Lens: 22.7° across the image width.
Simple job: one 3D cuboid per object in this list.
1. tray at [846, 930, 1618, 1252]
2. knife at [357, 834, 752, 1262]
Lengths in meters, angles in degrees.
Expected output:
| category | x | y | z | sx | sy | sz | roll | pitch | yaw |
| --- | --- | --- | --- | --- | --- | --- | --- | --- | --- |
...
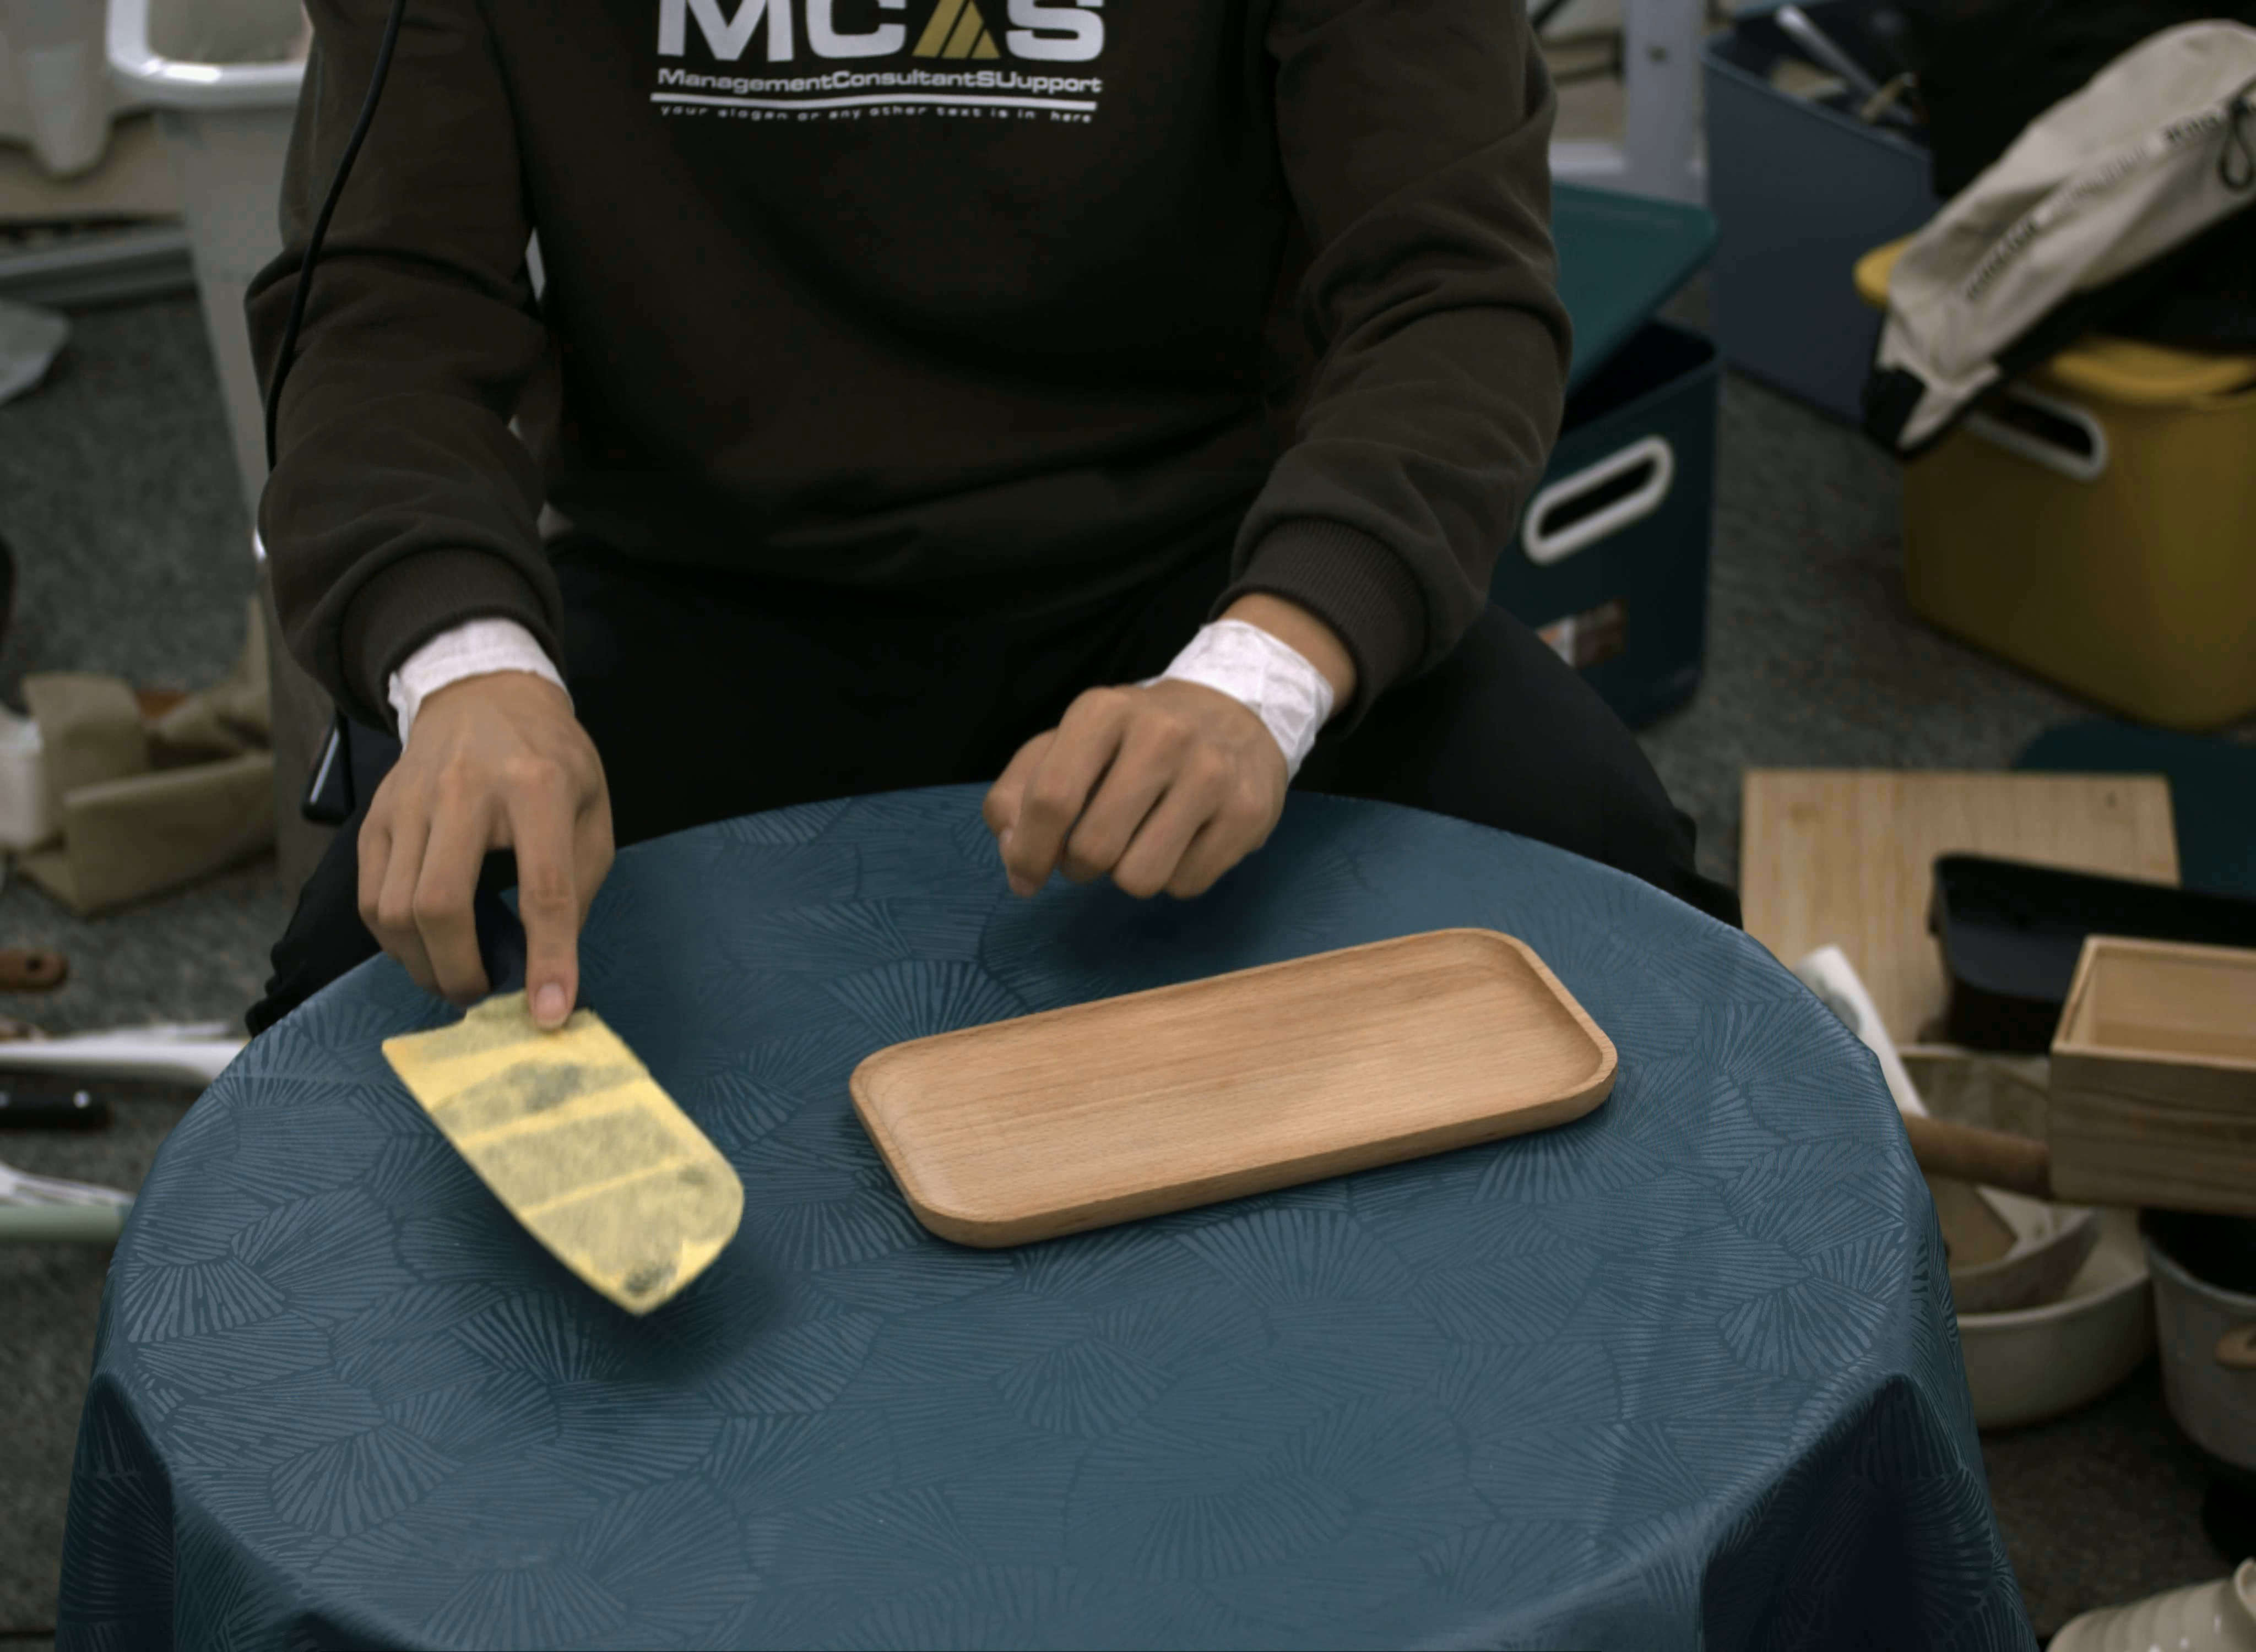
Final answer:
| category | x | y | z | sx | sy | sz | roll | pitch | yaw |
| --- | --- | --- | --- | --- | --- | --- | --- | --- | --- |
| tray | 0.035 | 0.089 | 1.903 | 0.251 | 0.022 | 0.131 | -12 | 26 | -16 |
| knife | -0.204 | 0.074 | 1.866 | 0.081 | 0.027 | 0.291 | -11 | 30 | -26 |
